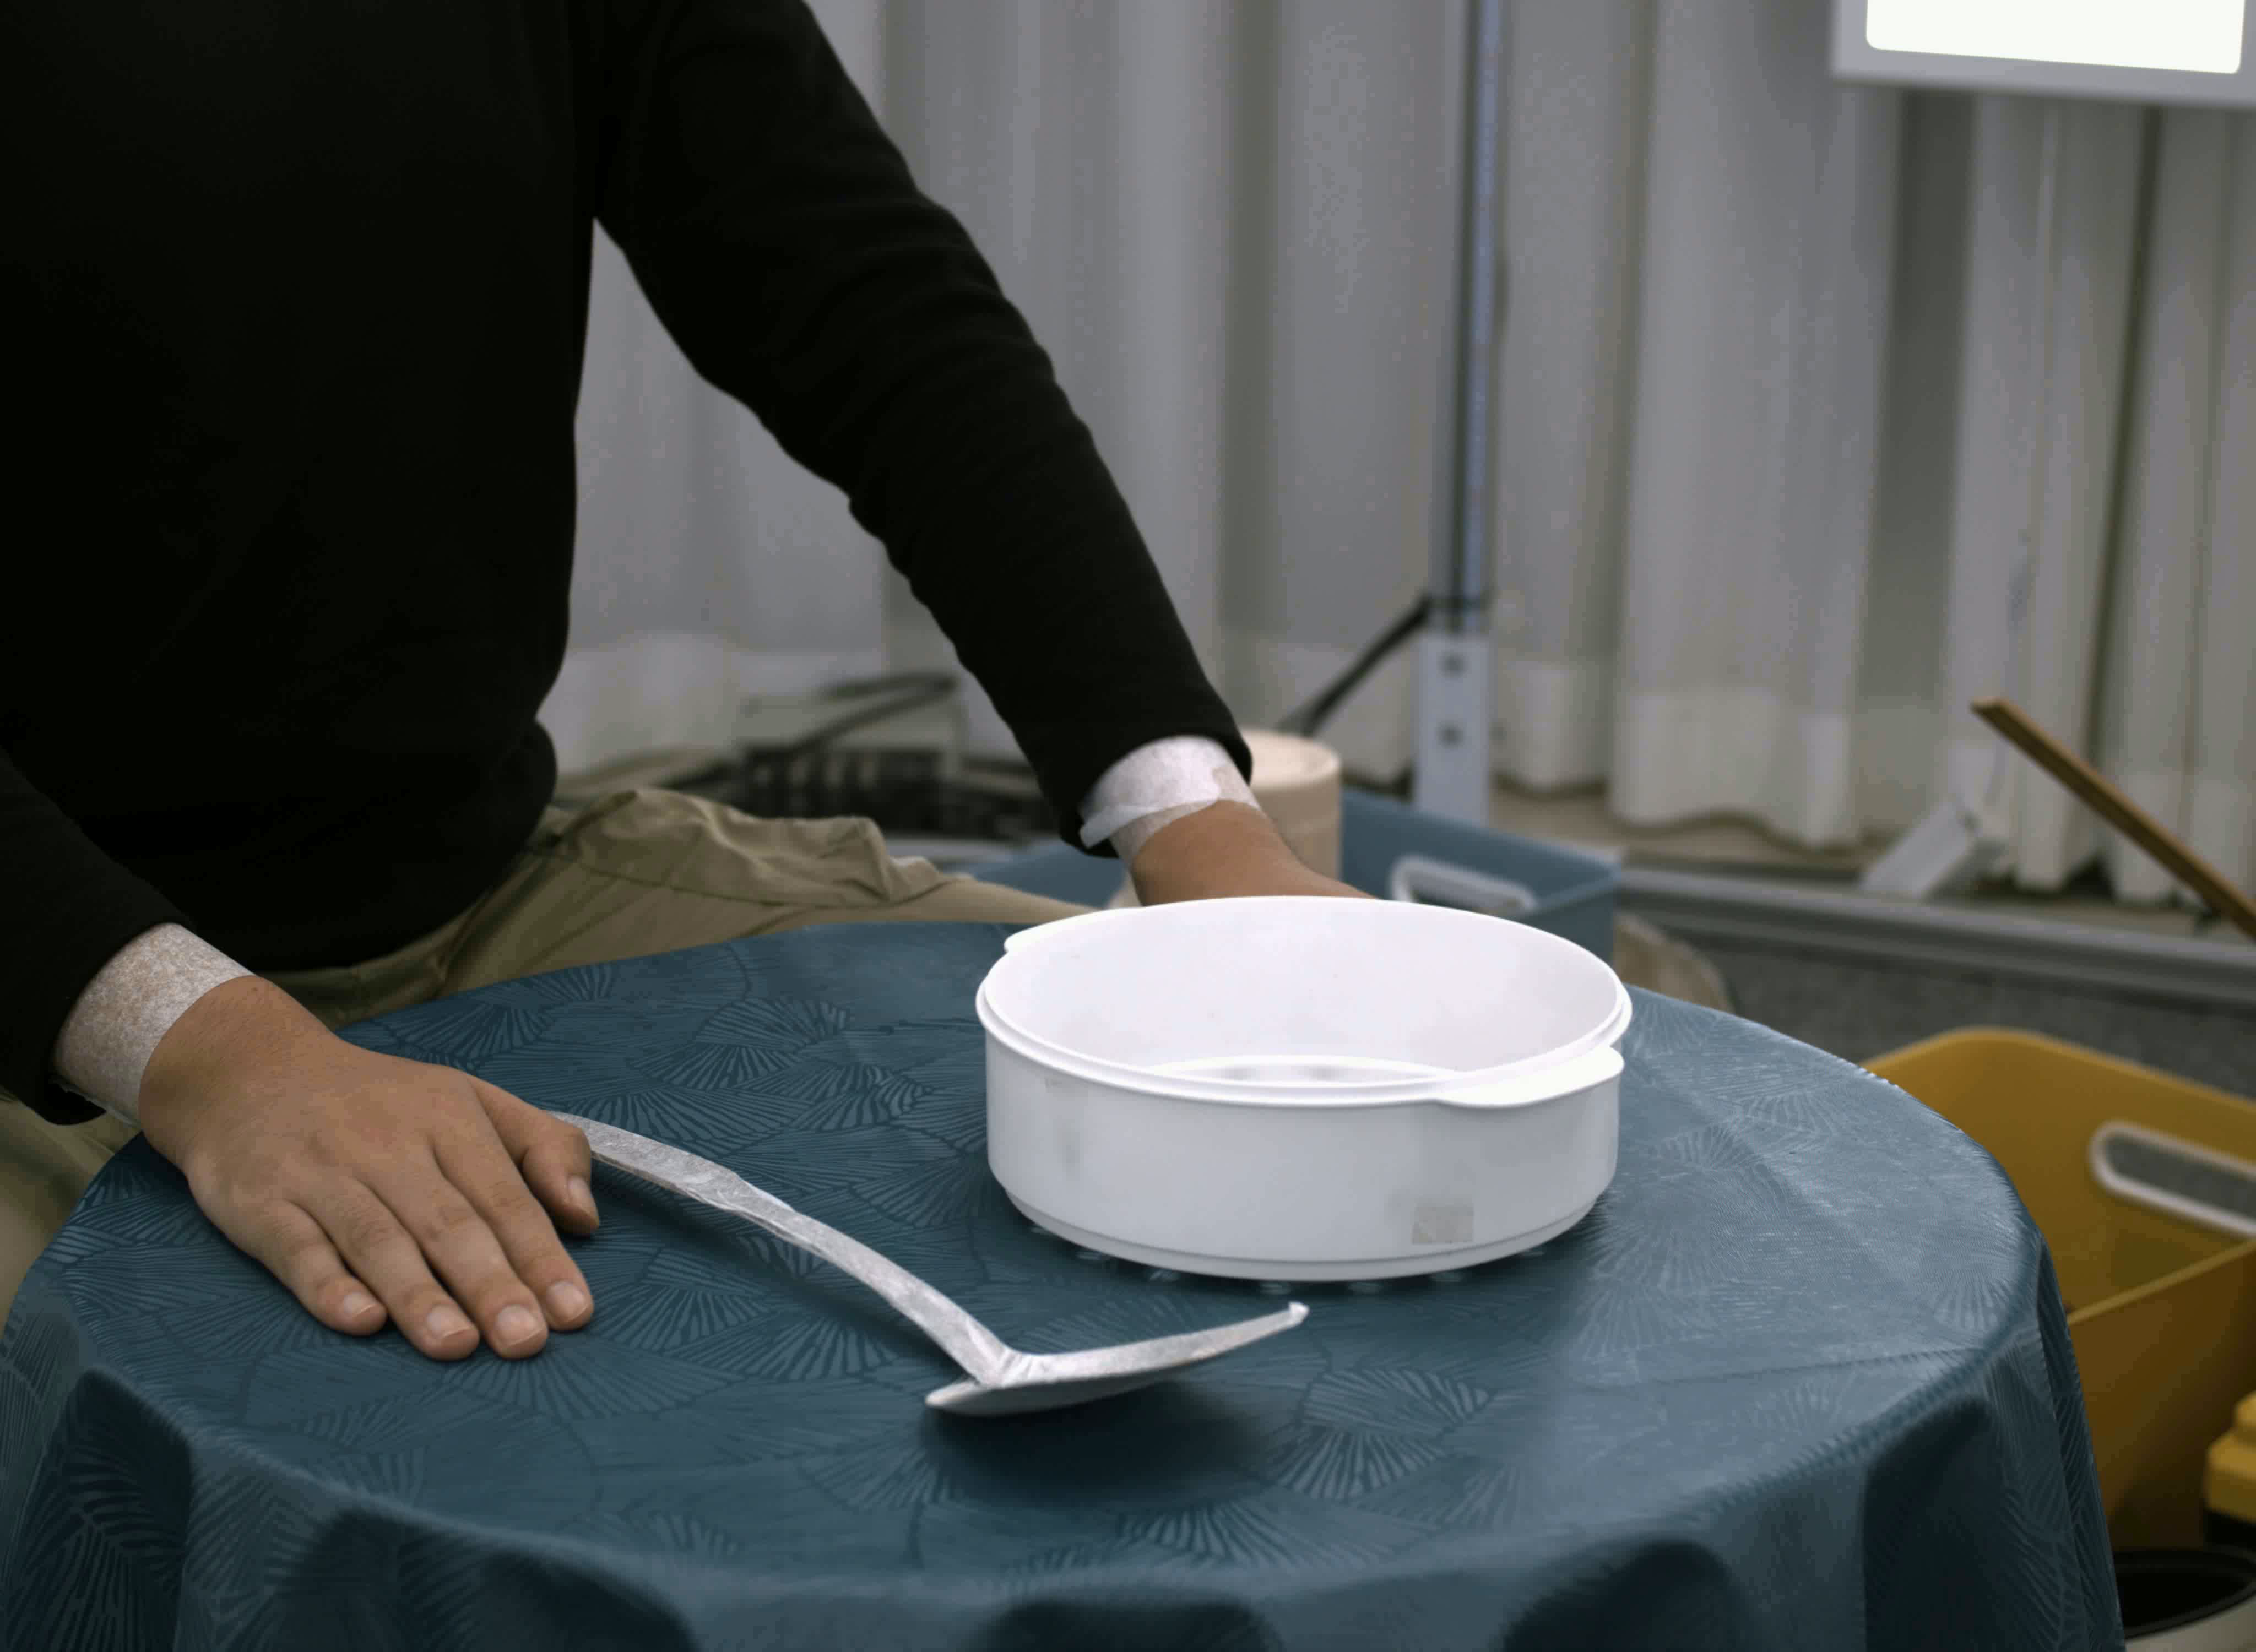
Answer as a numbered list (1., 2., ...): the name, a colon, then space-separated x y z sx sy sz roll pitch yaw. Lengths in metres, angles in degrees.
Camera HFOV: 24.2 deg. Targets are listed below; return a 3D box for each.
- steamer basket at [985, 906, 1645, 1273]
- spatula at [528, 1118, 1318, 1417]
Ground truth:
1. steamer basket: 0.057 0.080 1.608 0.203 0.070 0.227 -11 18 -40
2. spatula: -0.085 0.118 1.528 0.099 0.045 0.360 -14 21 -35
